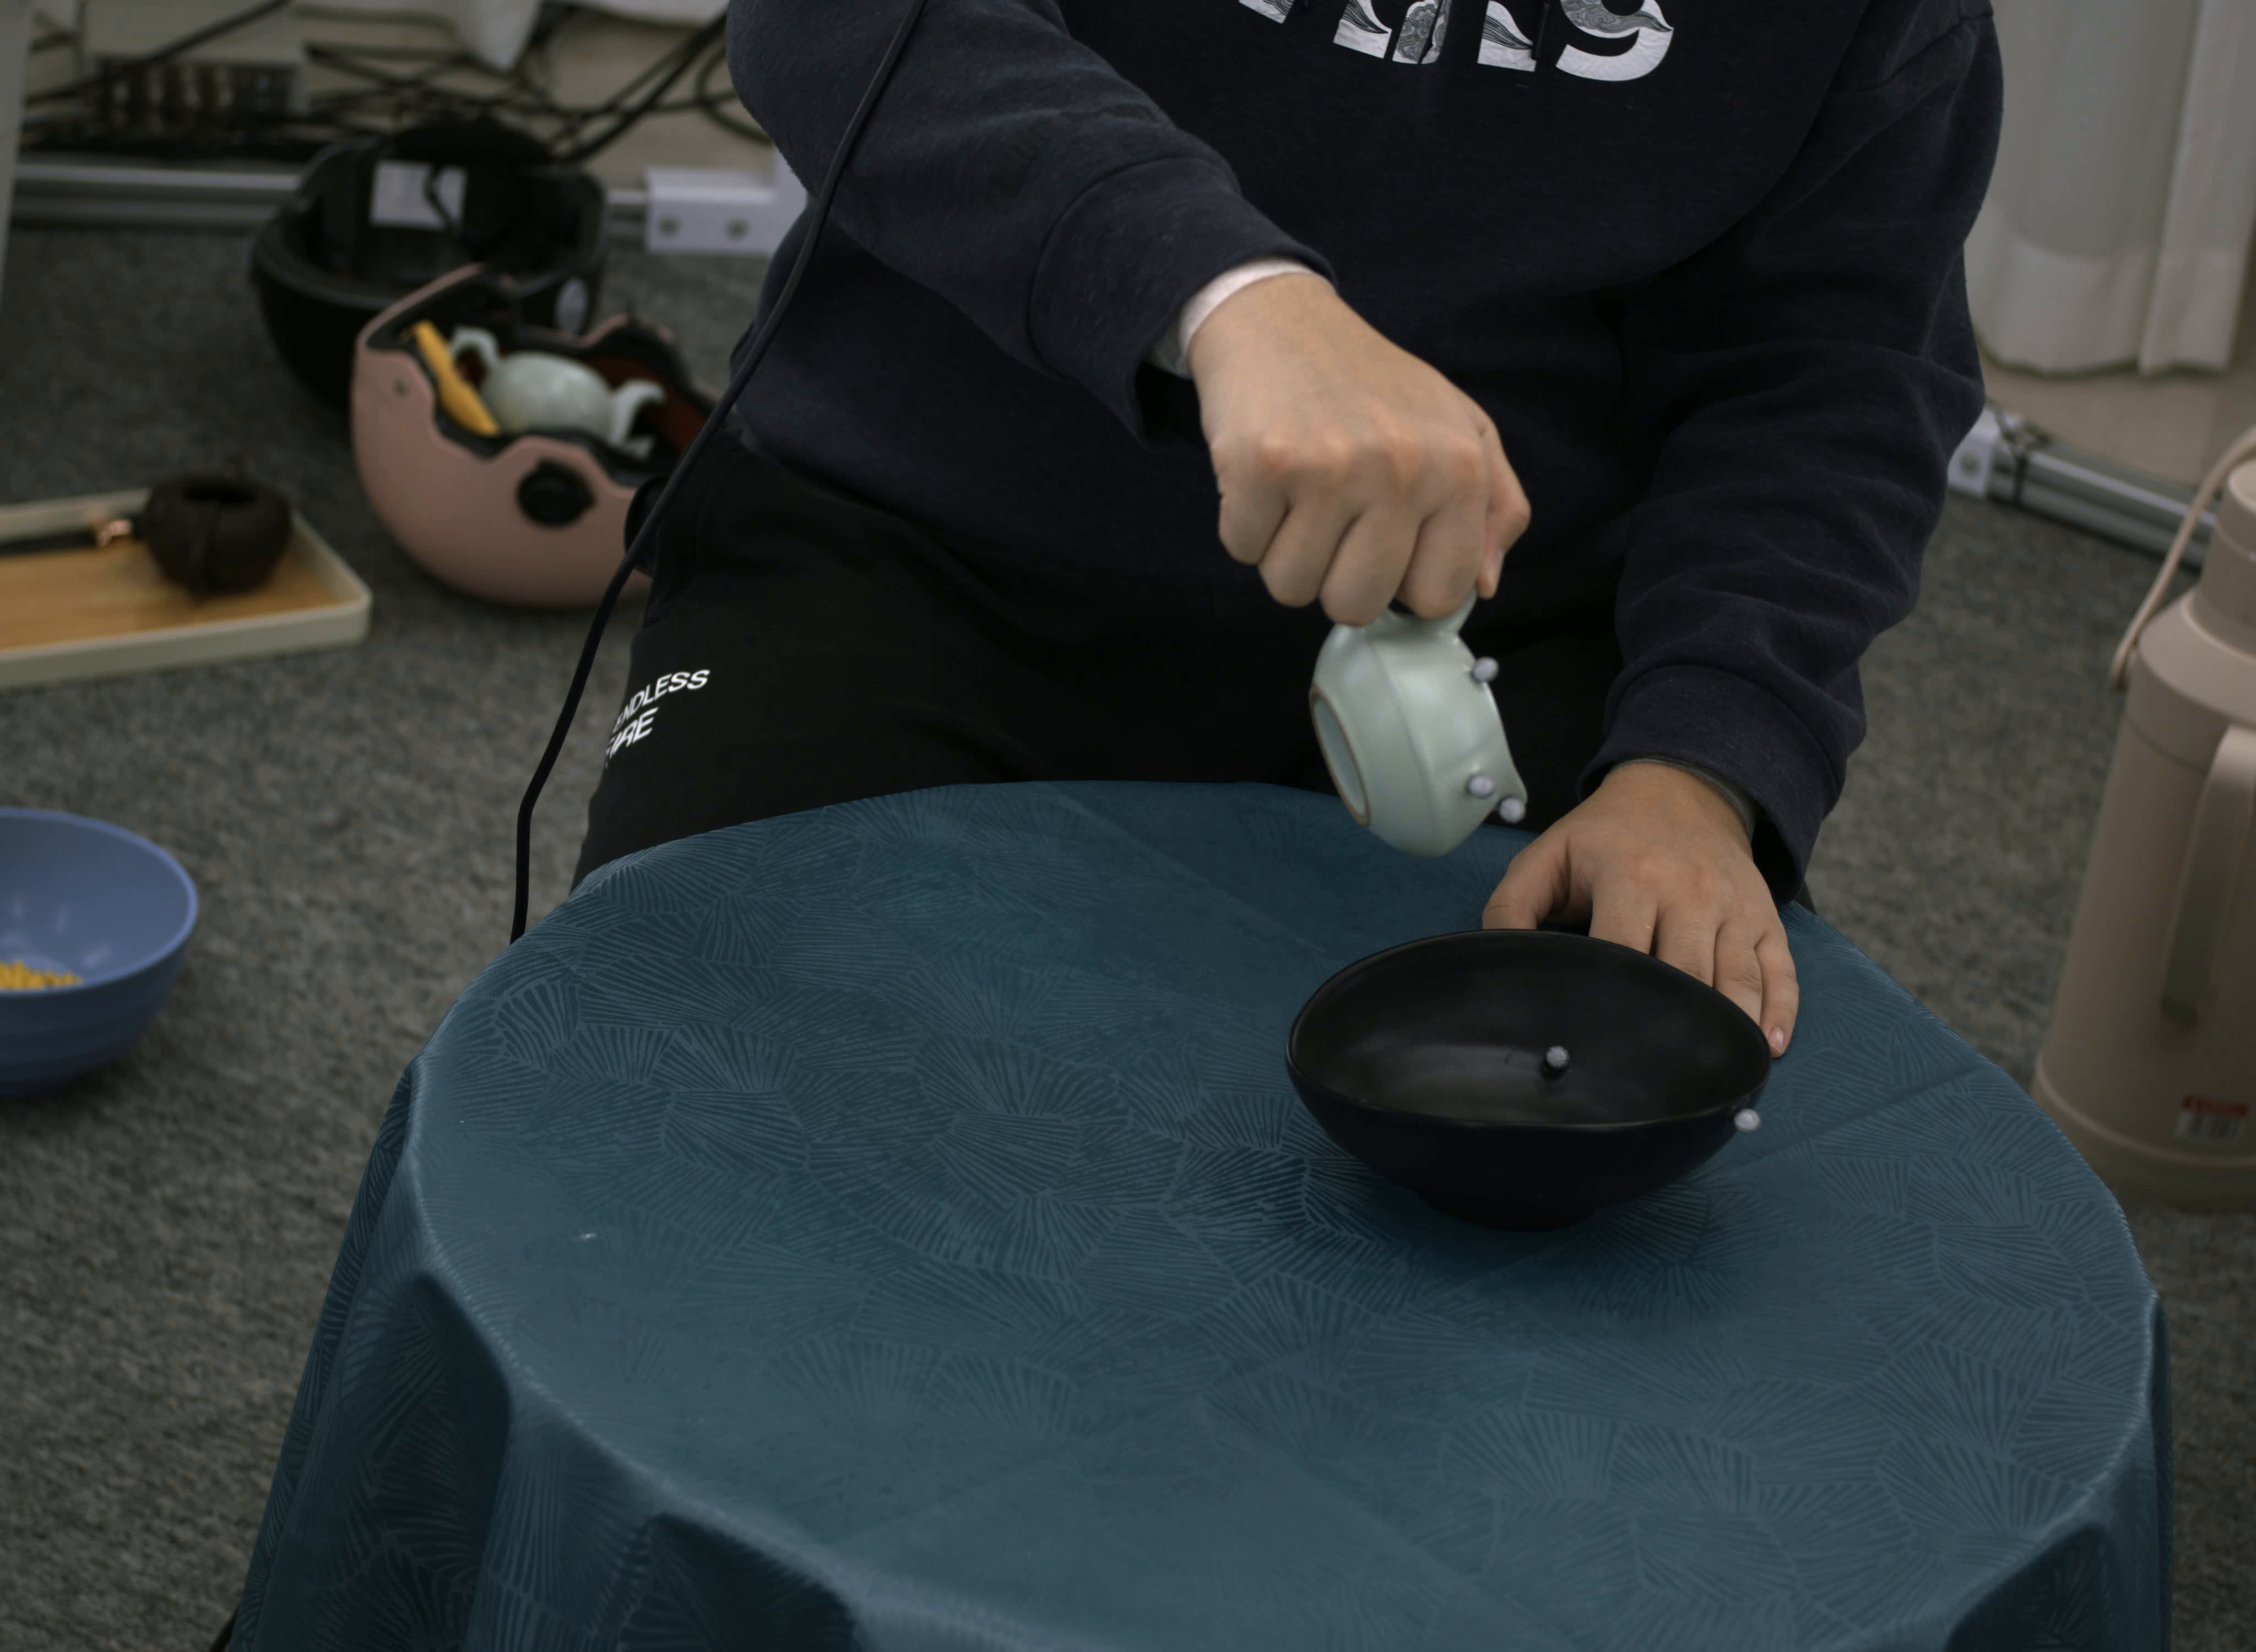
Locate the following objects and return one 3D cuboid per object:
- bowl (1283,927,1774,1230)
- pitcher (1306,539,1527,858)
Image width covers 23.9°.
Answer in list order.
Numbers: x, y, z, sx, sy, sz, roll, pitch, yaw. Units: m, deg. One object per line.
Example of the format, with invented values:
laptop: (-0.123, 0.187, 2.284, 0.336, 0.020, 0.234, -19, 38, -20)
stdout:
bowl: (0.136, 0.096, 1.825, 0.169, 0.066, 0.138, -2, 27, -16)
pitcher: (0.091, -0.042, 1.731, 0.060, 0.107, 0.087, -23, 31, -9)
